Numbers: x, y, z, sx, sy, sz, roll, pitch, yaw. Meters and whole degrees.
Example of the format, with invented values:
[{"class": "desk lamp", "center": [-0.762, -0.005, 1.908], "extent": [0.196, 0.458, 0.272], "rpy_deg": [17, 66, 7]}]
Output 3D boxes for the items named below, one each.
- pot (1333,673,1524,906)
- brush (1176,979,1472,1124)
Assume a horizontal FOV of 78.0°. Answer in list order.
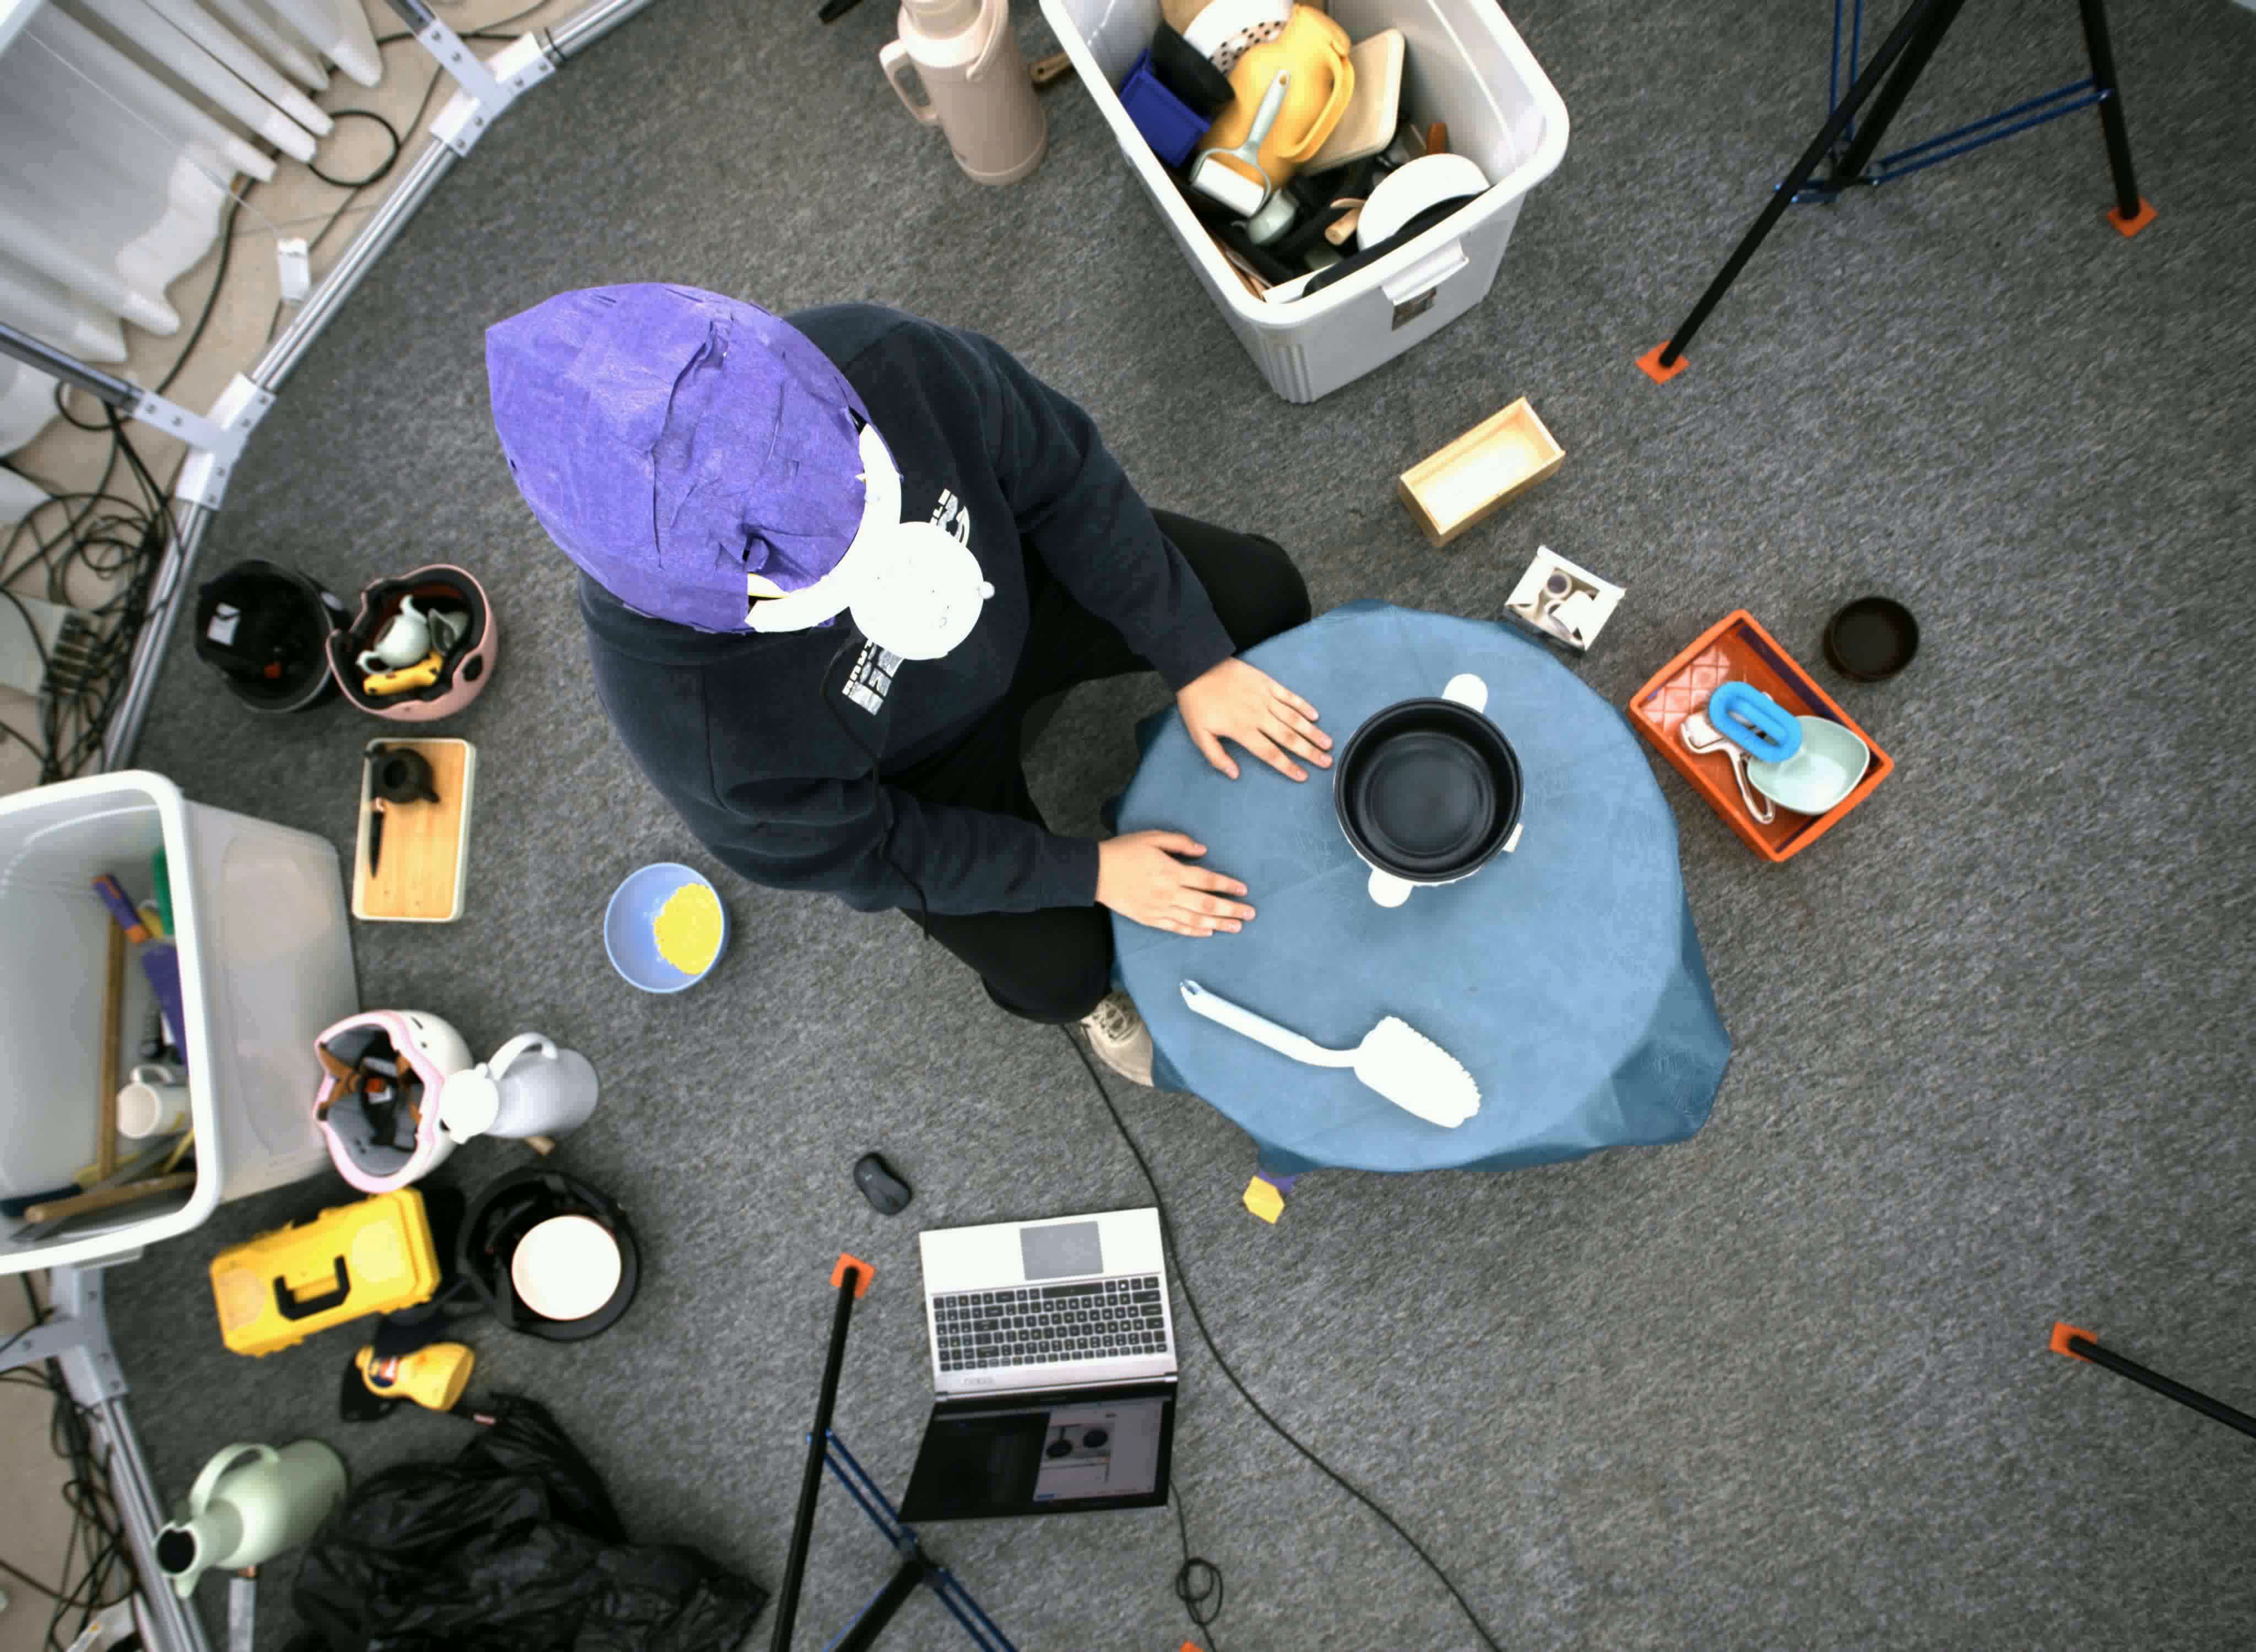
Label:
[{"class": "pot", "center": [0.306, -0.029, 1.390], "extent": [0.190, 0.142, 0.240], "rpy_deg": [21, 91, 15]}, {"class": "brush", "center": [0.202, 0.213, 1.423], "extent": [0.325, 0.082, 0.085], "rpy_deg": [24, 96, 10]}]
